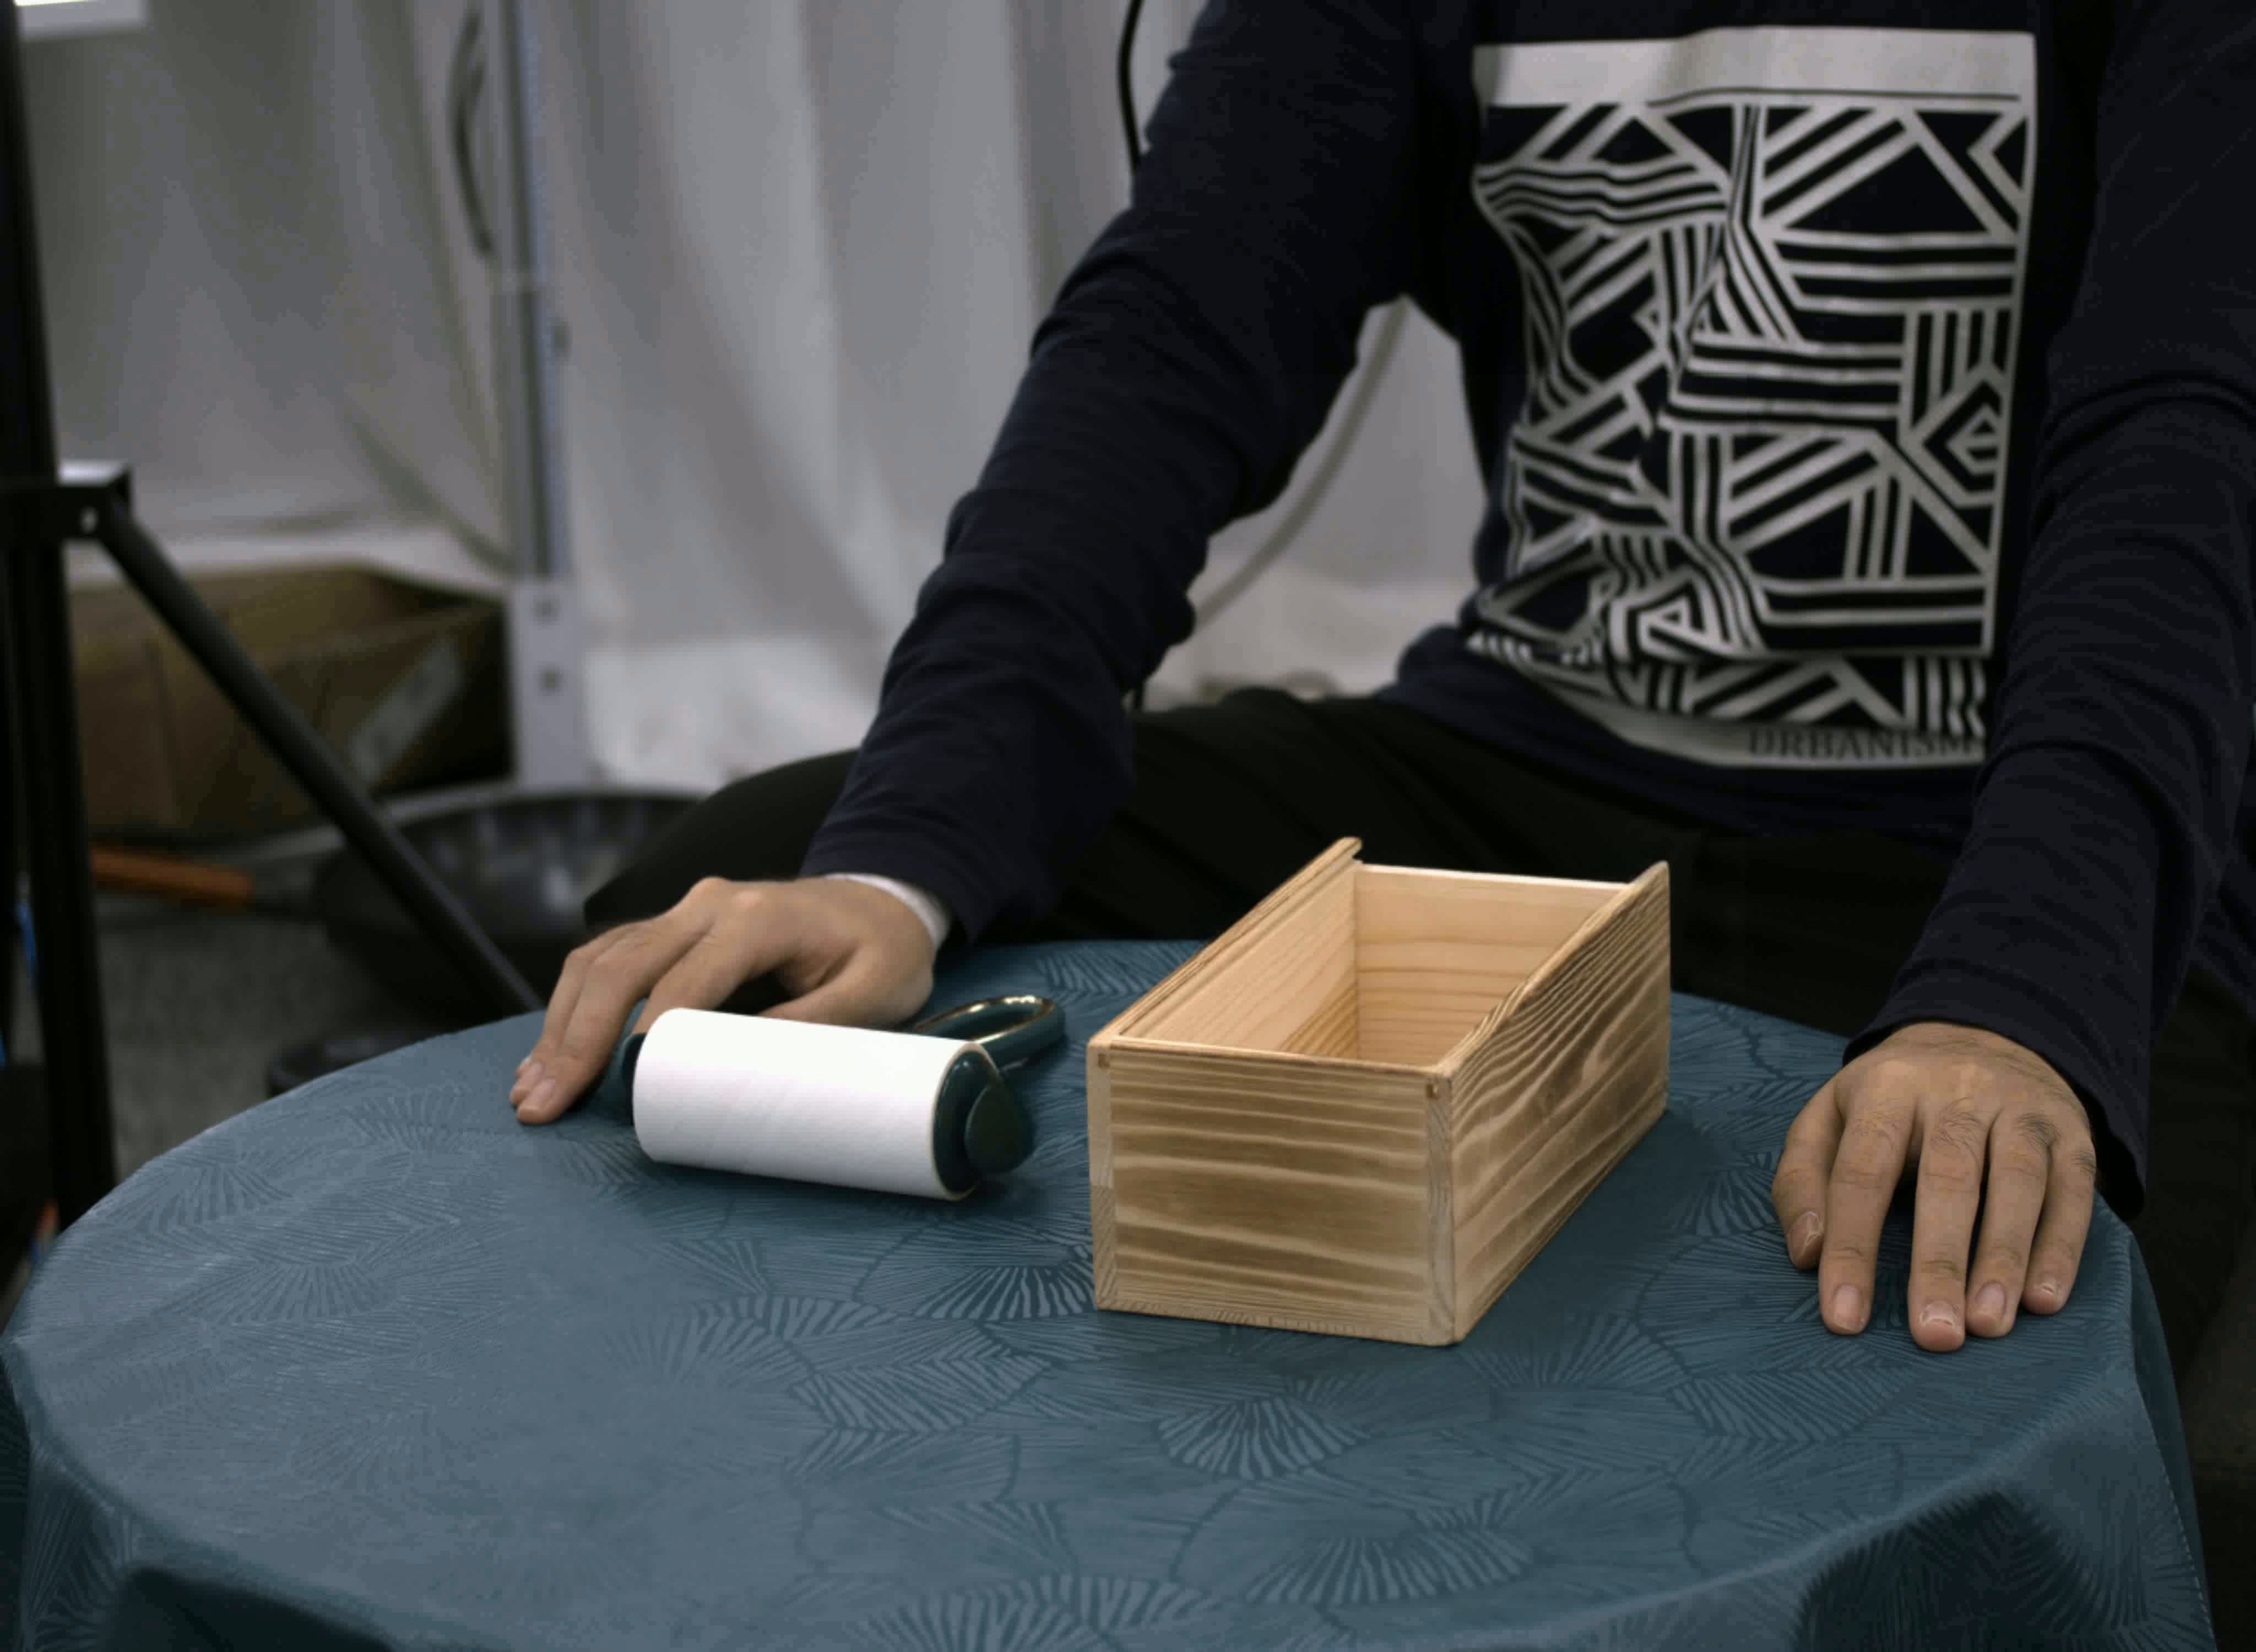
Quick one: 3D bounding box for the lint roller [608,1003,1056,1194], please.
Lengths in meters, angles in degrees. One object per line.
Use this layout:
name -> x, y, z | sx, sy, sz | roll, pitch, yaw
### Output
lint roller -> -0.066, 0.070, 1.640 | 0.136, 0.048, 0.177 | 5, 12, 25

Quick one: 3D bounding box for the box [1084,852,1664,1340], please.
box -> 0.076, 0.073, 1.528 | 0.109, 0.080, 0.208 | 3, 15, 21
